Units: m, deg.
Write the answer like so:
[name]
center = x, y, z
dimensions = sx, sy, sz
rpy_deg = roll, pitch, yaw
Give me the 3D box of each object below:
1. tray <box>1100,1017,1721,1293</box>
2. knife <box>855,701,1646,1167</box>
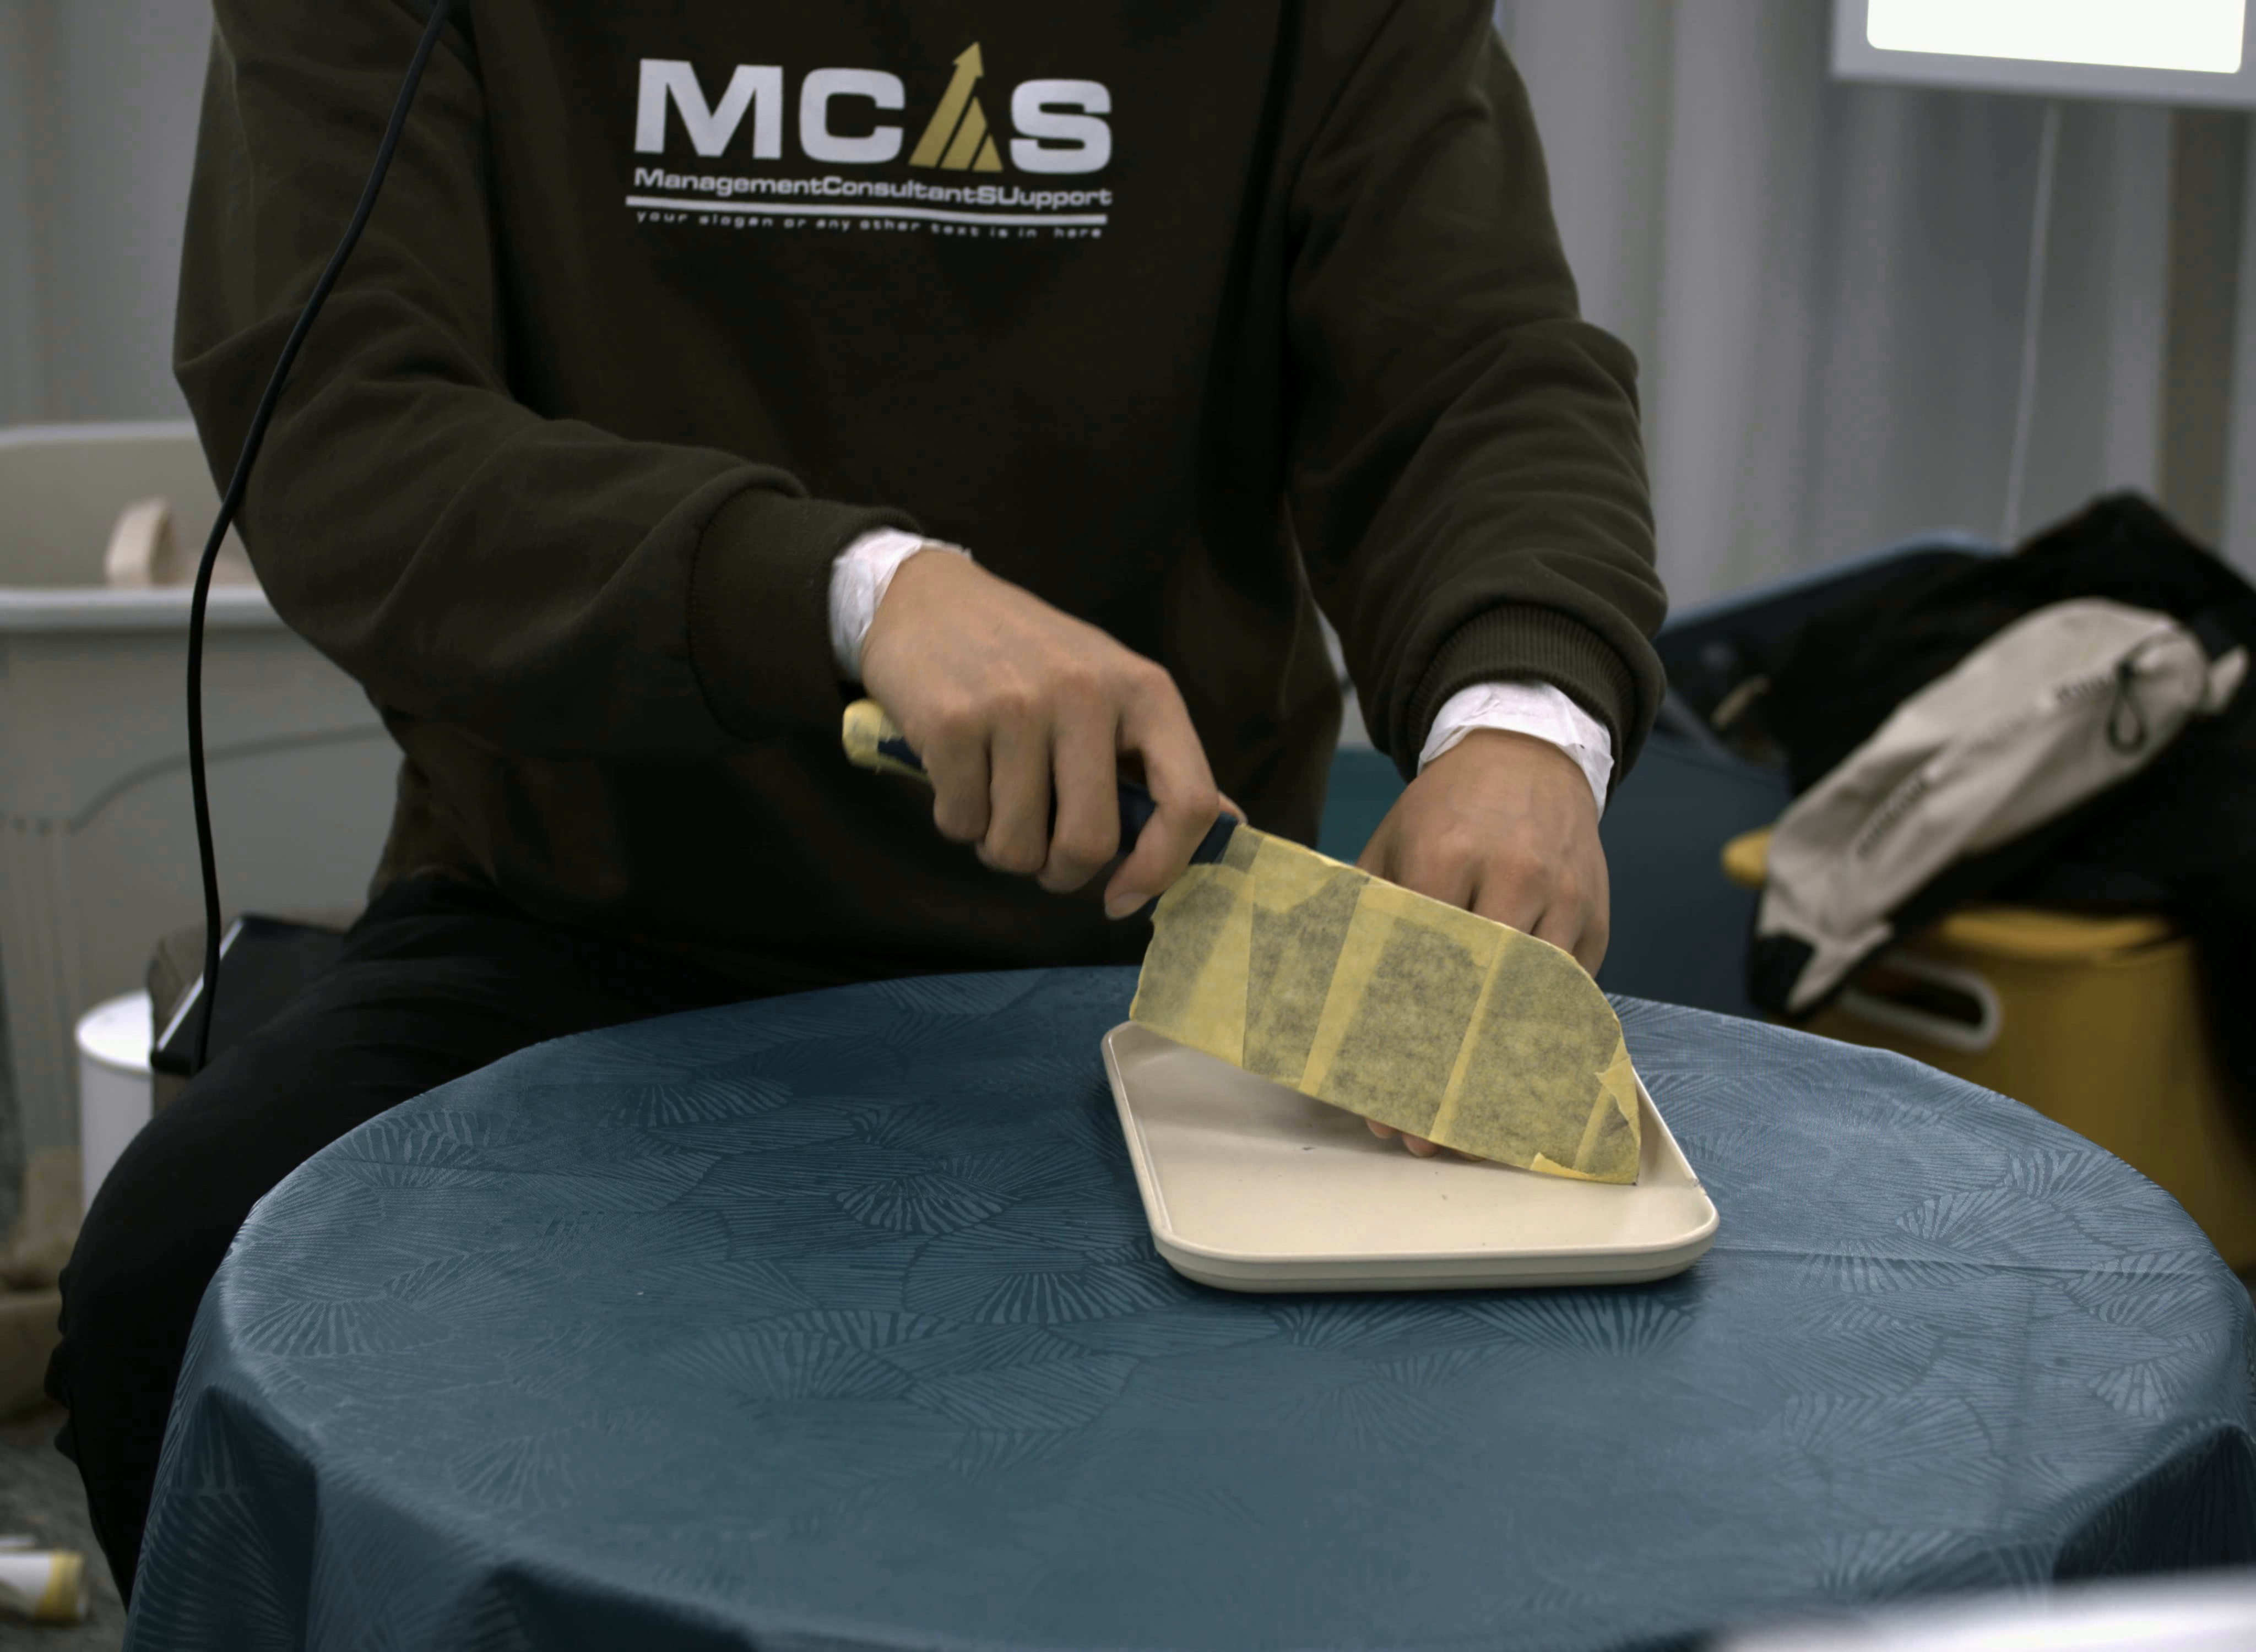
[tray]
center = 0.083, 0.099, 1.642
dimensions = 0.171, 0.017, 0.238
rpy_deg = -1, 15, -5
[knife]
center = 0.034, 0.032, 1.660
dimensions = 0.287, 0.081, 0.027
rpy_deg = 25, 8, 16
